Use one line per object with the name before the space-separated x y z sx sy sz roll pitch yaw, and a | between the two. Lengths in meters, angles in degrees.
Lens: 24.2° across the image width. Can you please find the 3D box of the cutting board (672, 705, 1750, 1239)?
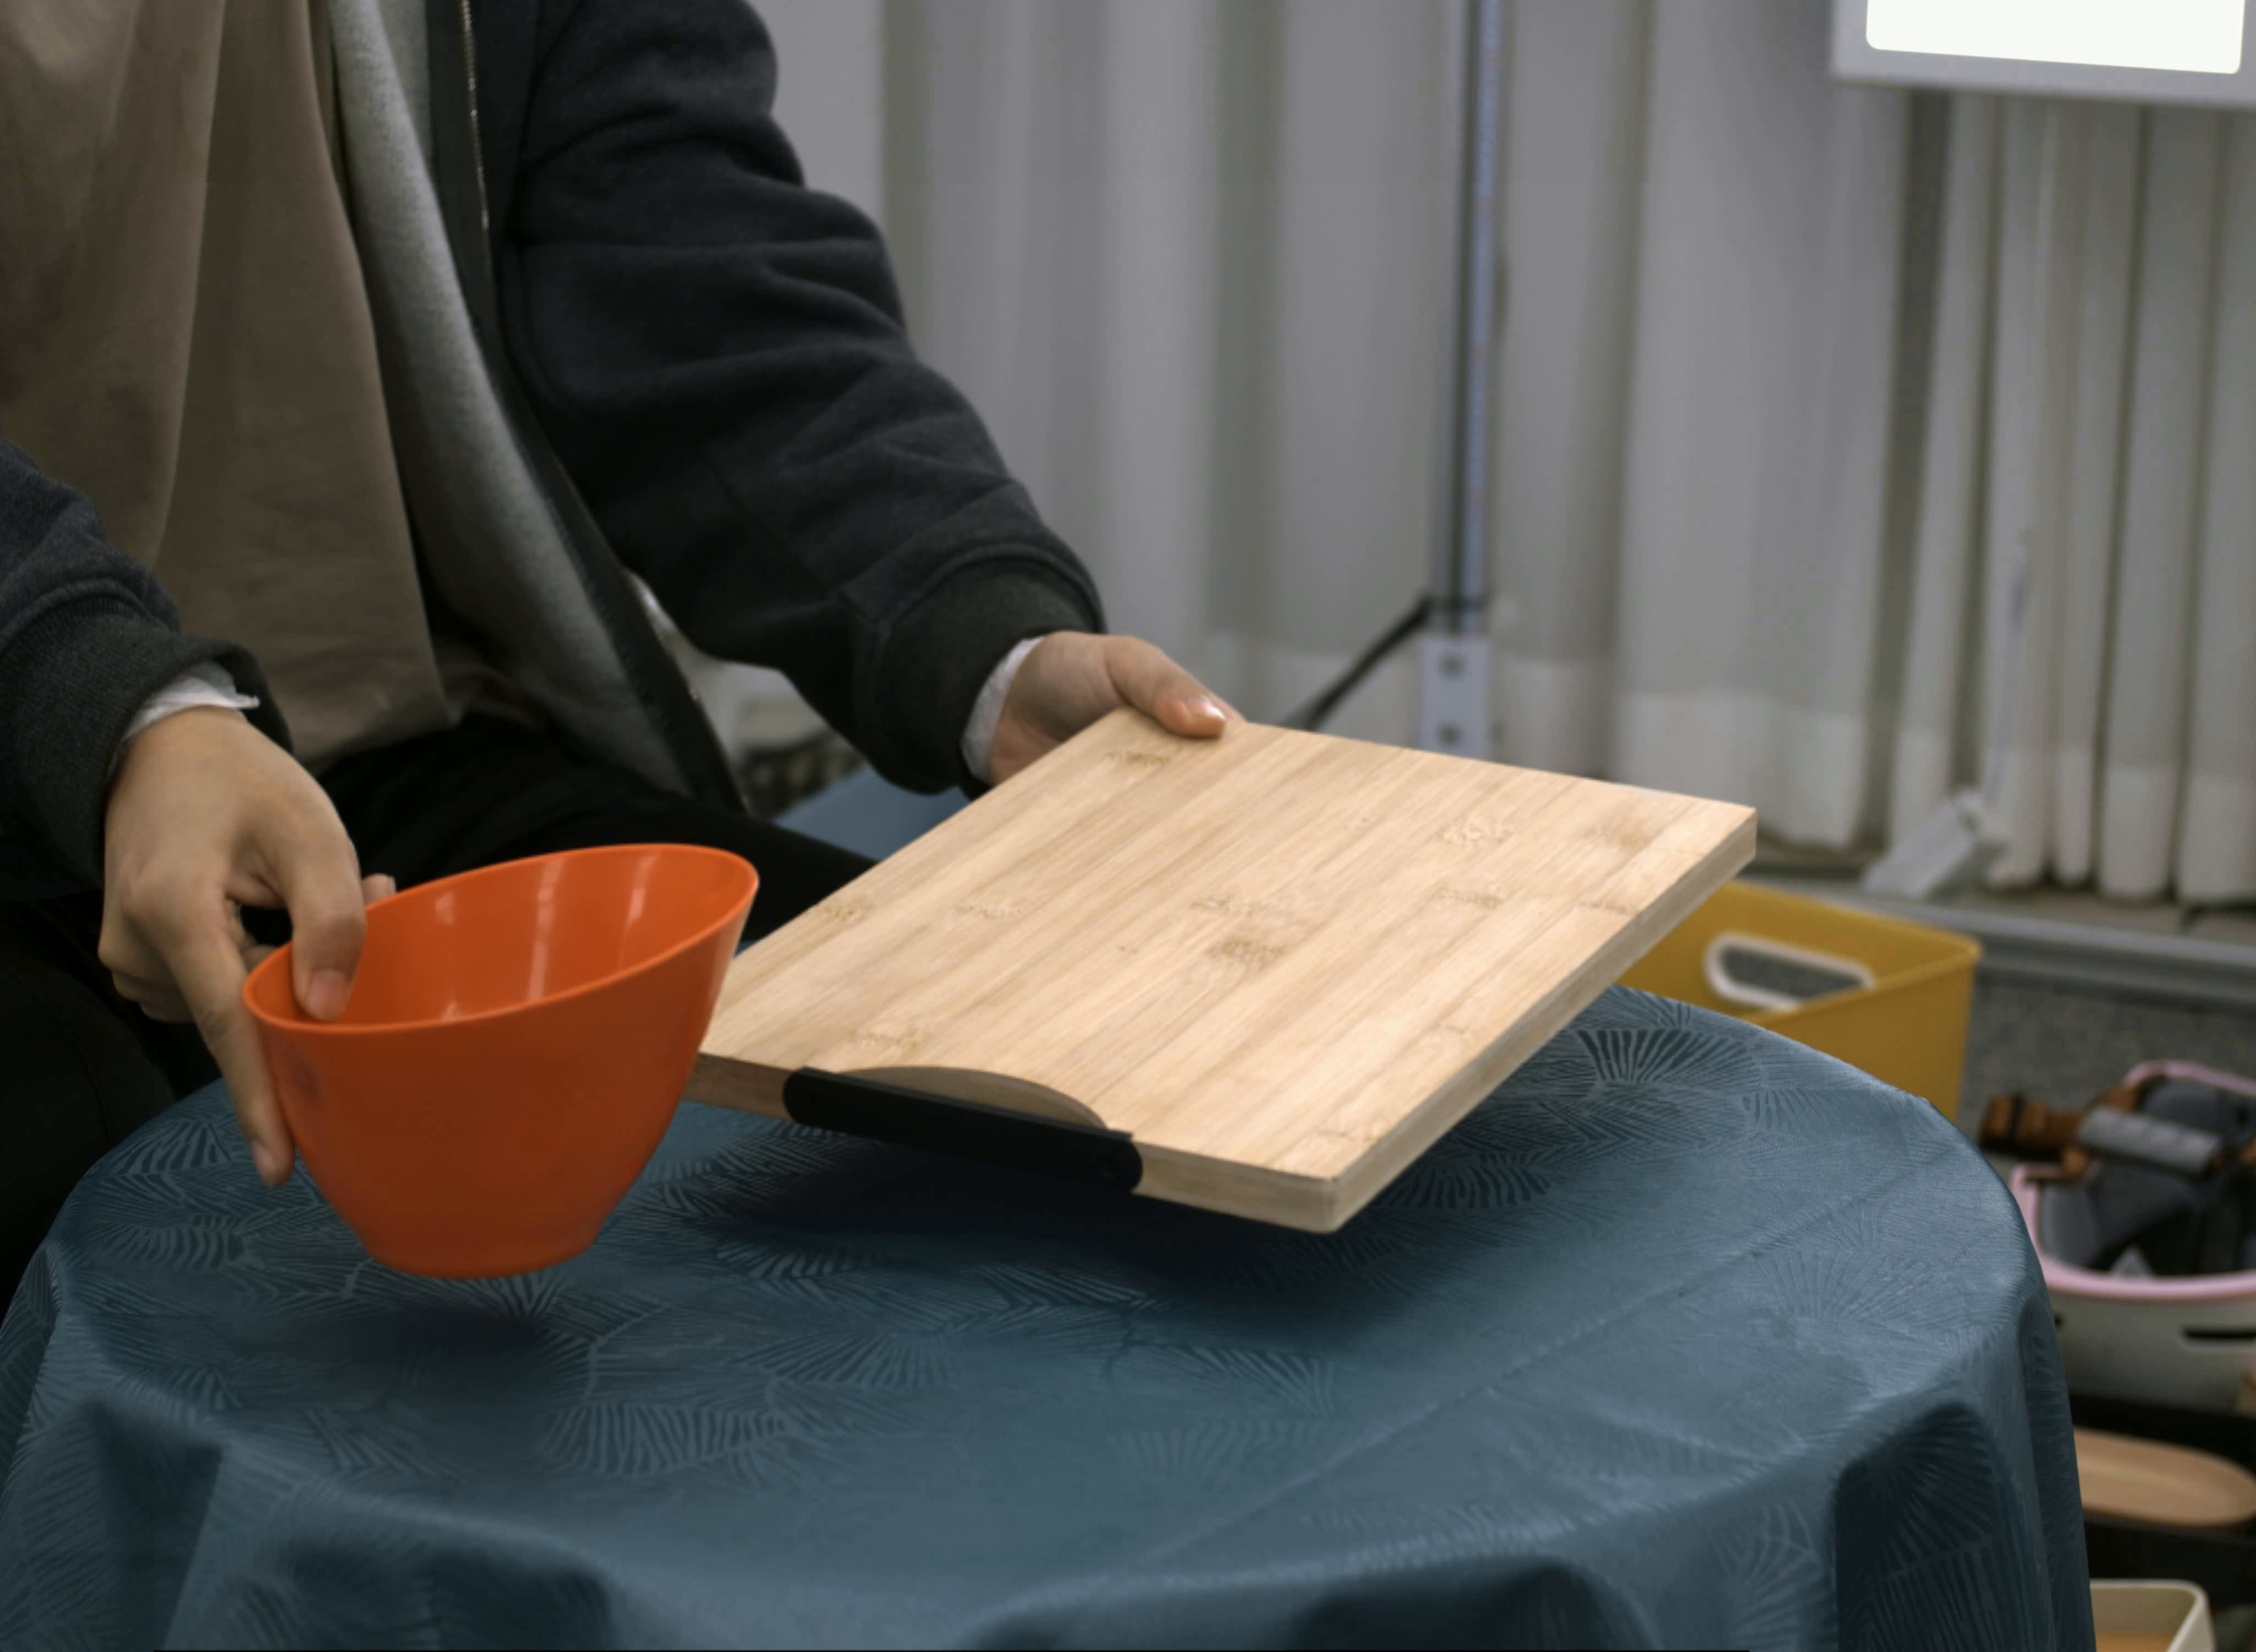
cutting board | 0.024 0.038 1.675 0.248 0.024 0.349 9 22 24

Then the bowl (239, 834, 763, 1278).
bowl | -0.175 0.067 1.486 0.147 0.105 0.147 0 19 1
